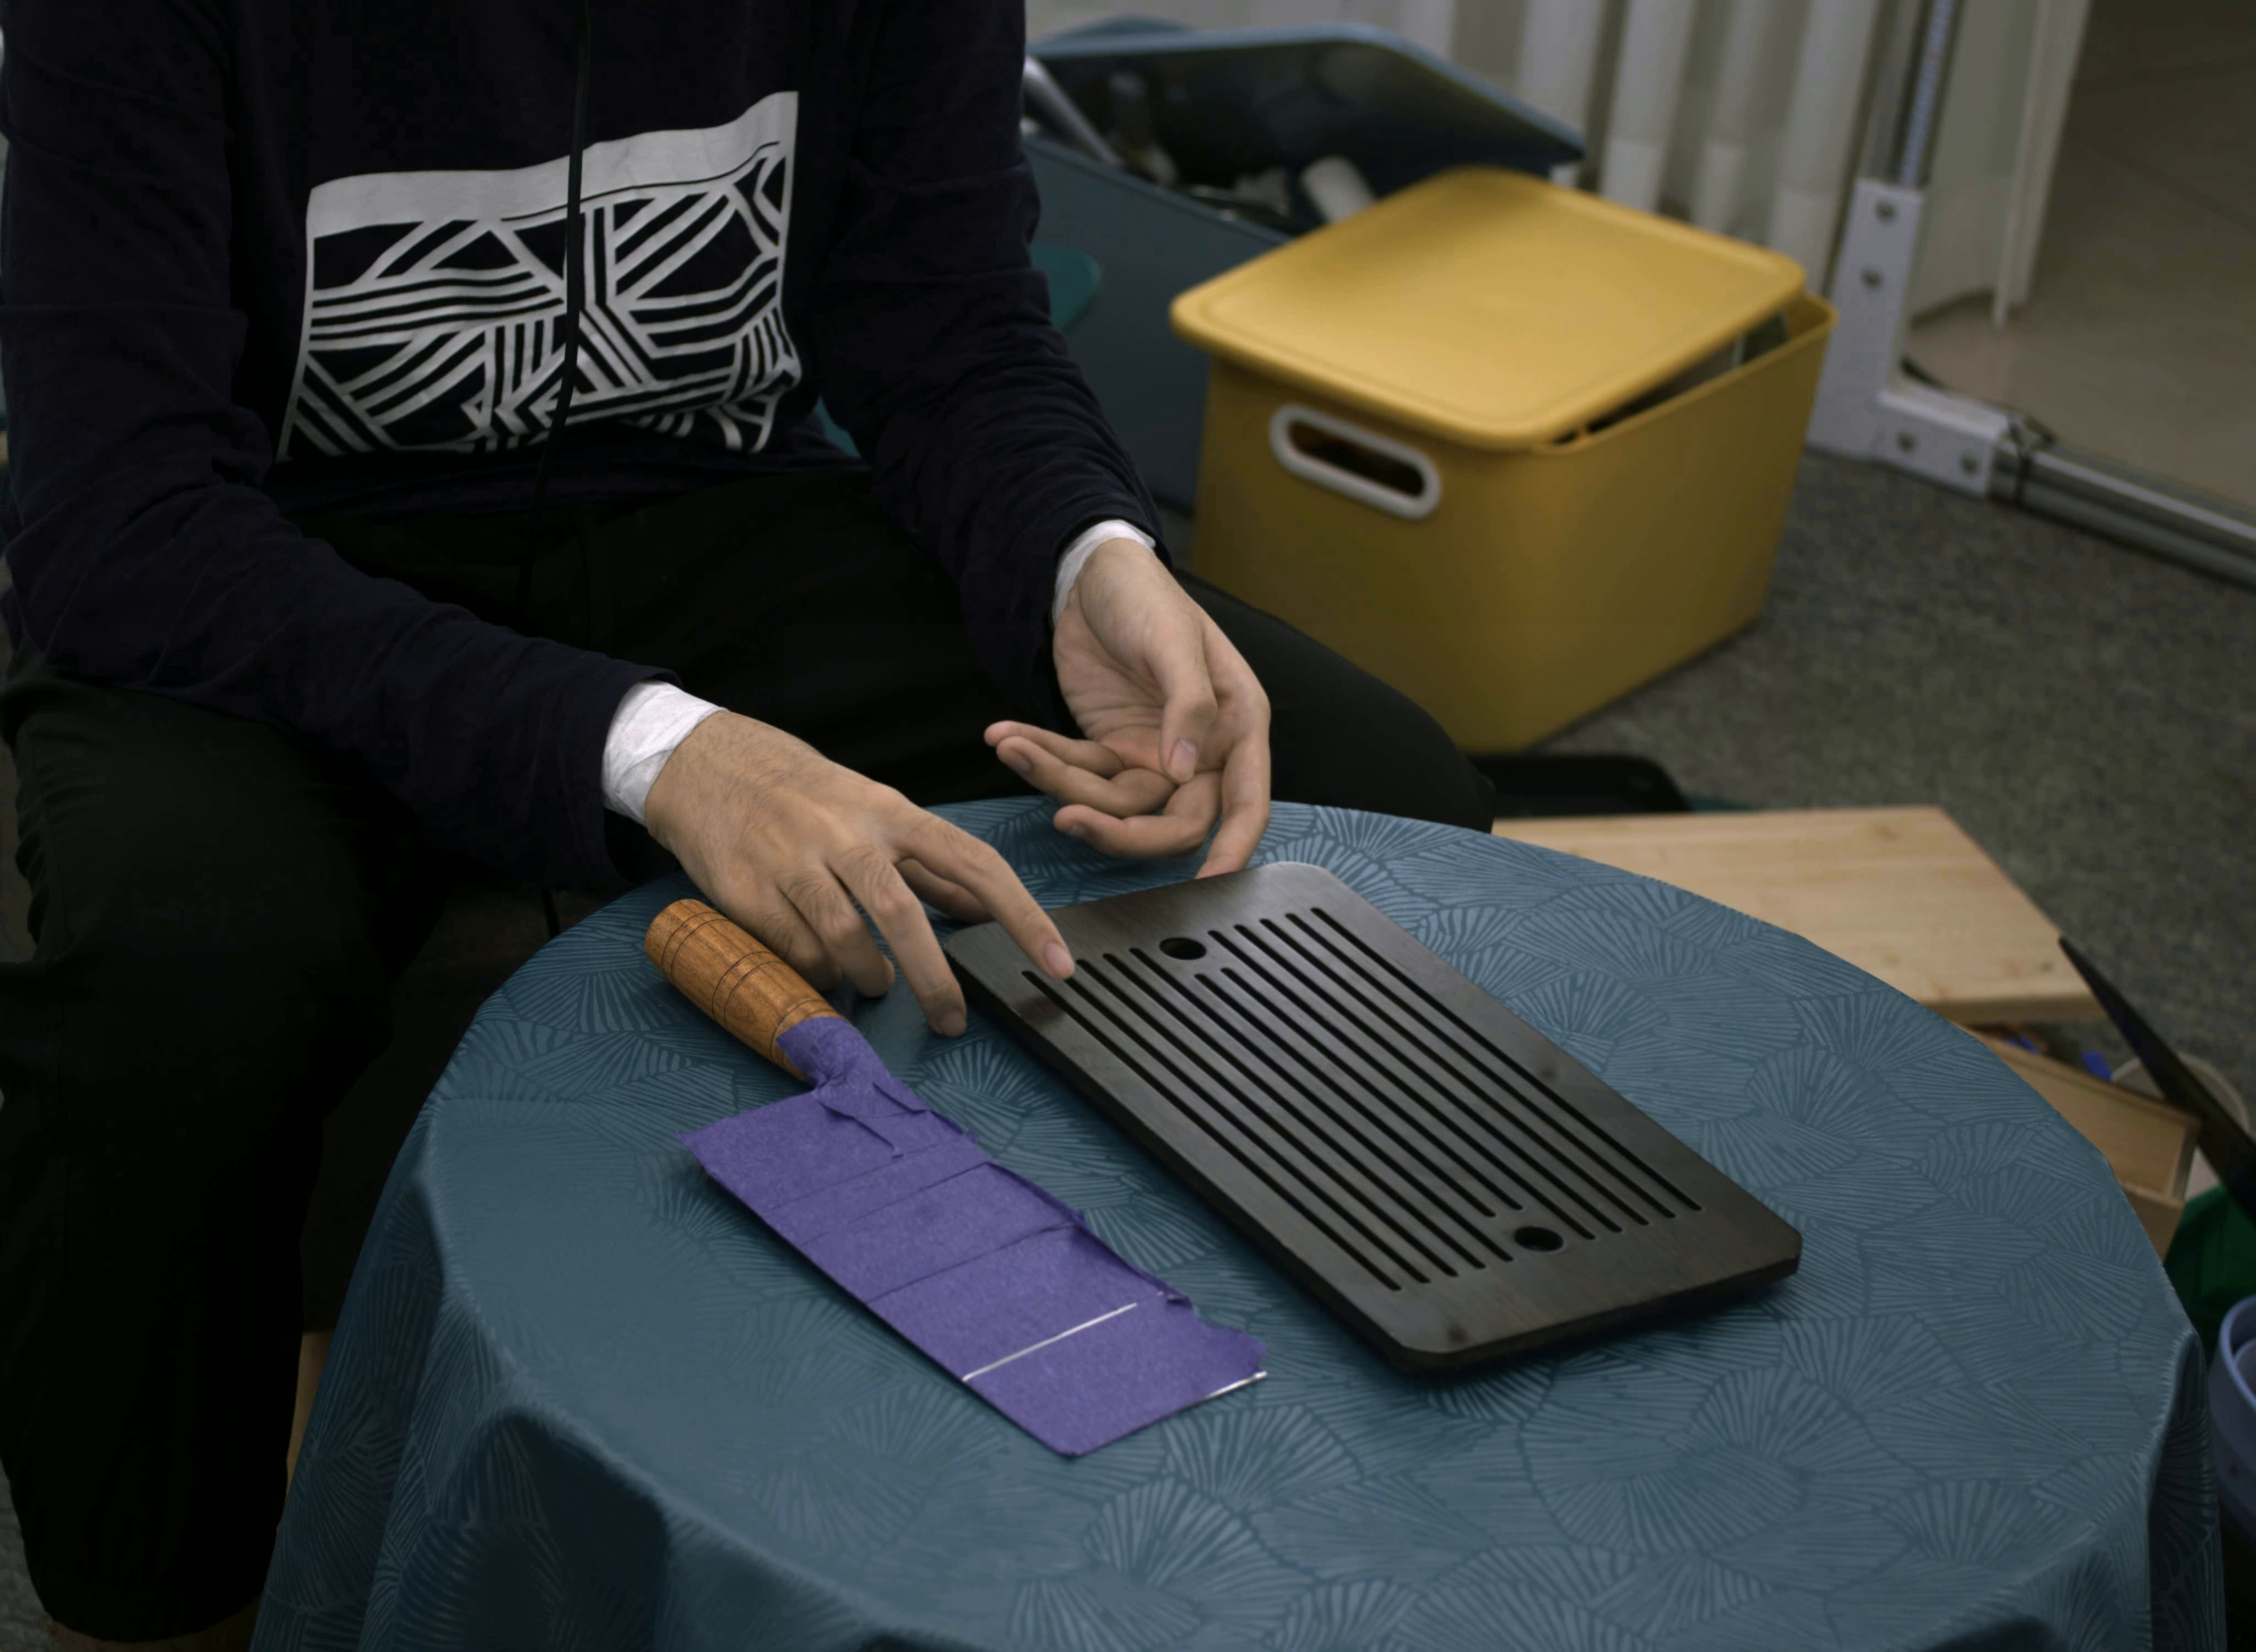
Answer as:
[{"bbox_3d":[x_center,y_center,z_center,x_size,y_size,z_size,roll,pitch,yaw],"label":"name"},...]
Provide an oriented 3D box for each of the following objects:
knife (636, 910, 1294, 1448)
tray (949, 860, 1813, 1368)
[{"bbox_3d":[-0.084,0.114,1.777,0.103,0.032,0.318,-17,35,-38],"label":"knife"},{"bbox_3d":[0.082,0.097,1.857,0.169,0.018,0.308,-11,31,-31],"label":"tray"}]
